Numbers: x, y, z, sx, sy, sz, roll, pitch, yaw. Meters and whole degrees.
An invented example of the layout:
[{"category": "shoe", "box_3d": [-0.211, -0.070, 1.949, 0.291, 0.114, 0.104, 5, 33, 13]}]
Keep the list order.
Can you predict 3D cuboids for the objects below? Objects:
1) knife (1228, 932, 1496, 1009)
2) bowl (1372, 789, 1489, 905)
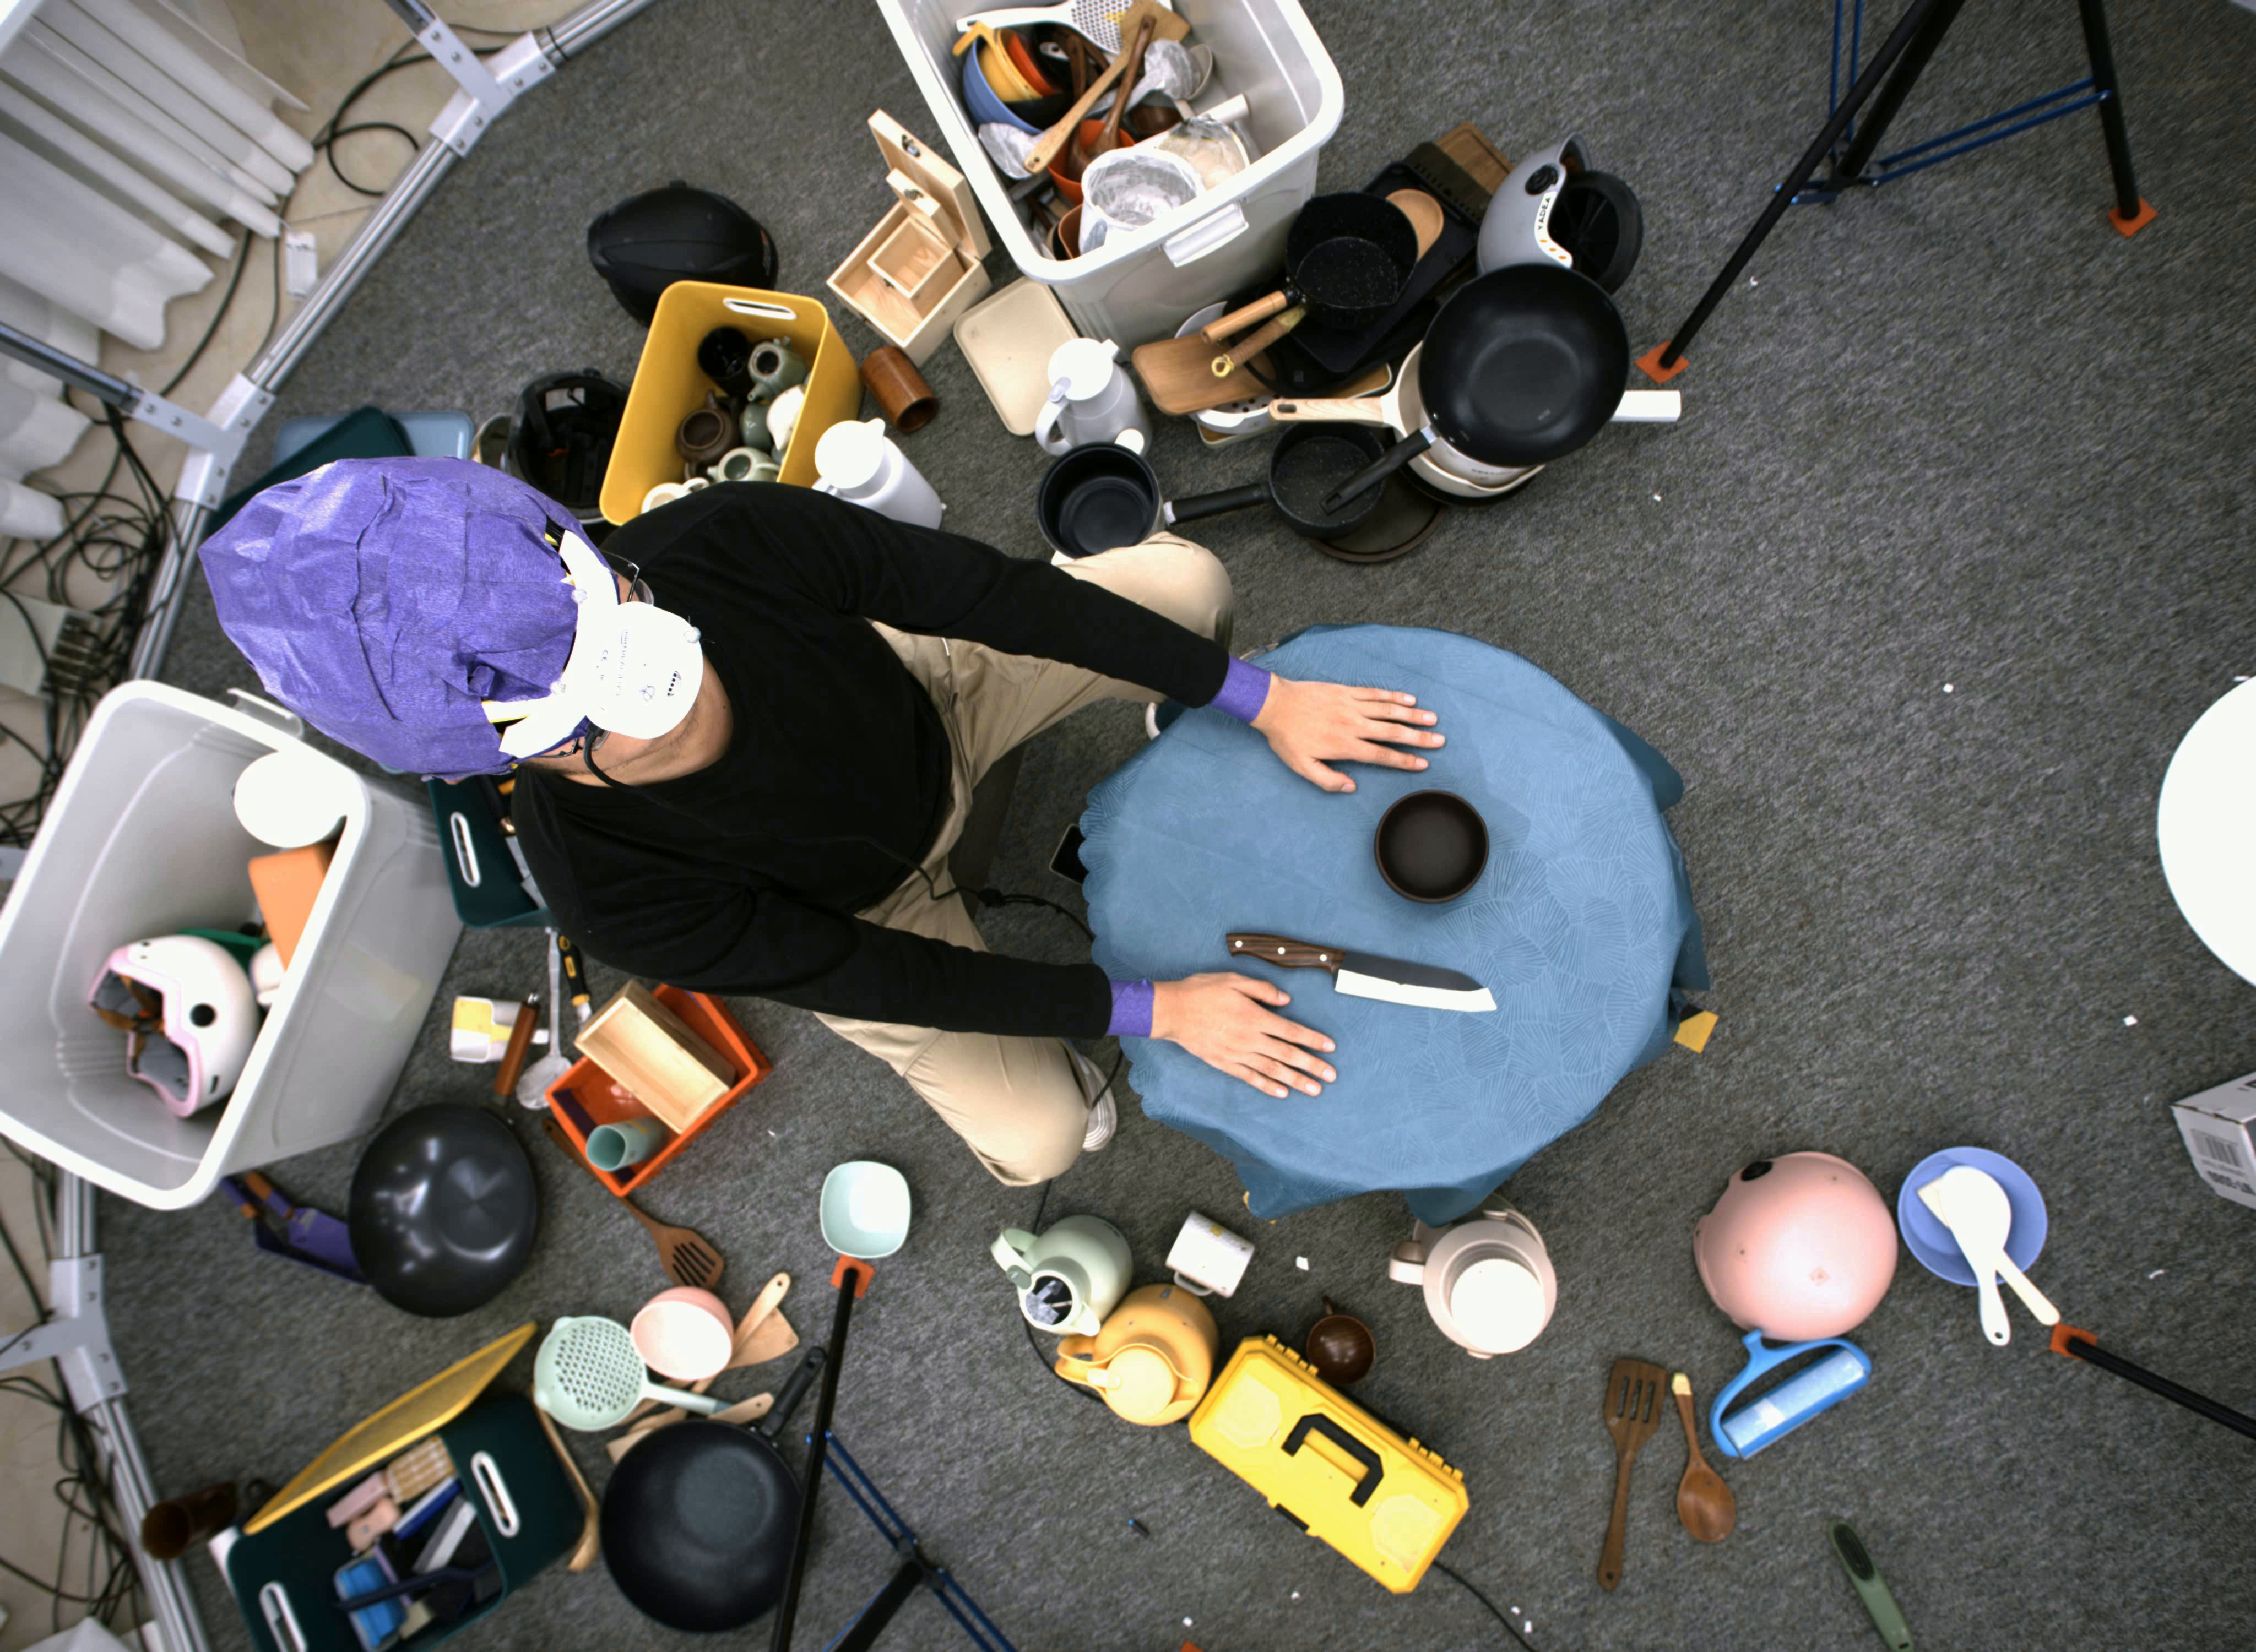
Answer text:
[{"category": "knife", "box_3d": [0.244, 0.151, 1.455, 0.289, 0.020, 0.050, 13, 94, 9]}, {"category": "bowl", "box_3d": [0.311, 0.021, 1.421, 0.118, 0.070, 0.117, -1, 87, 12]}]
